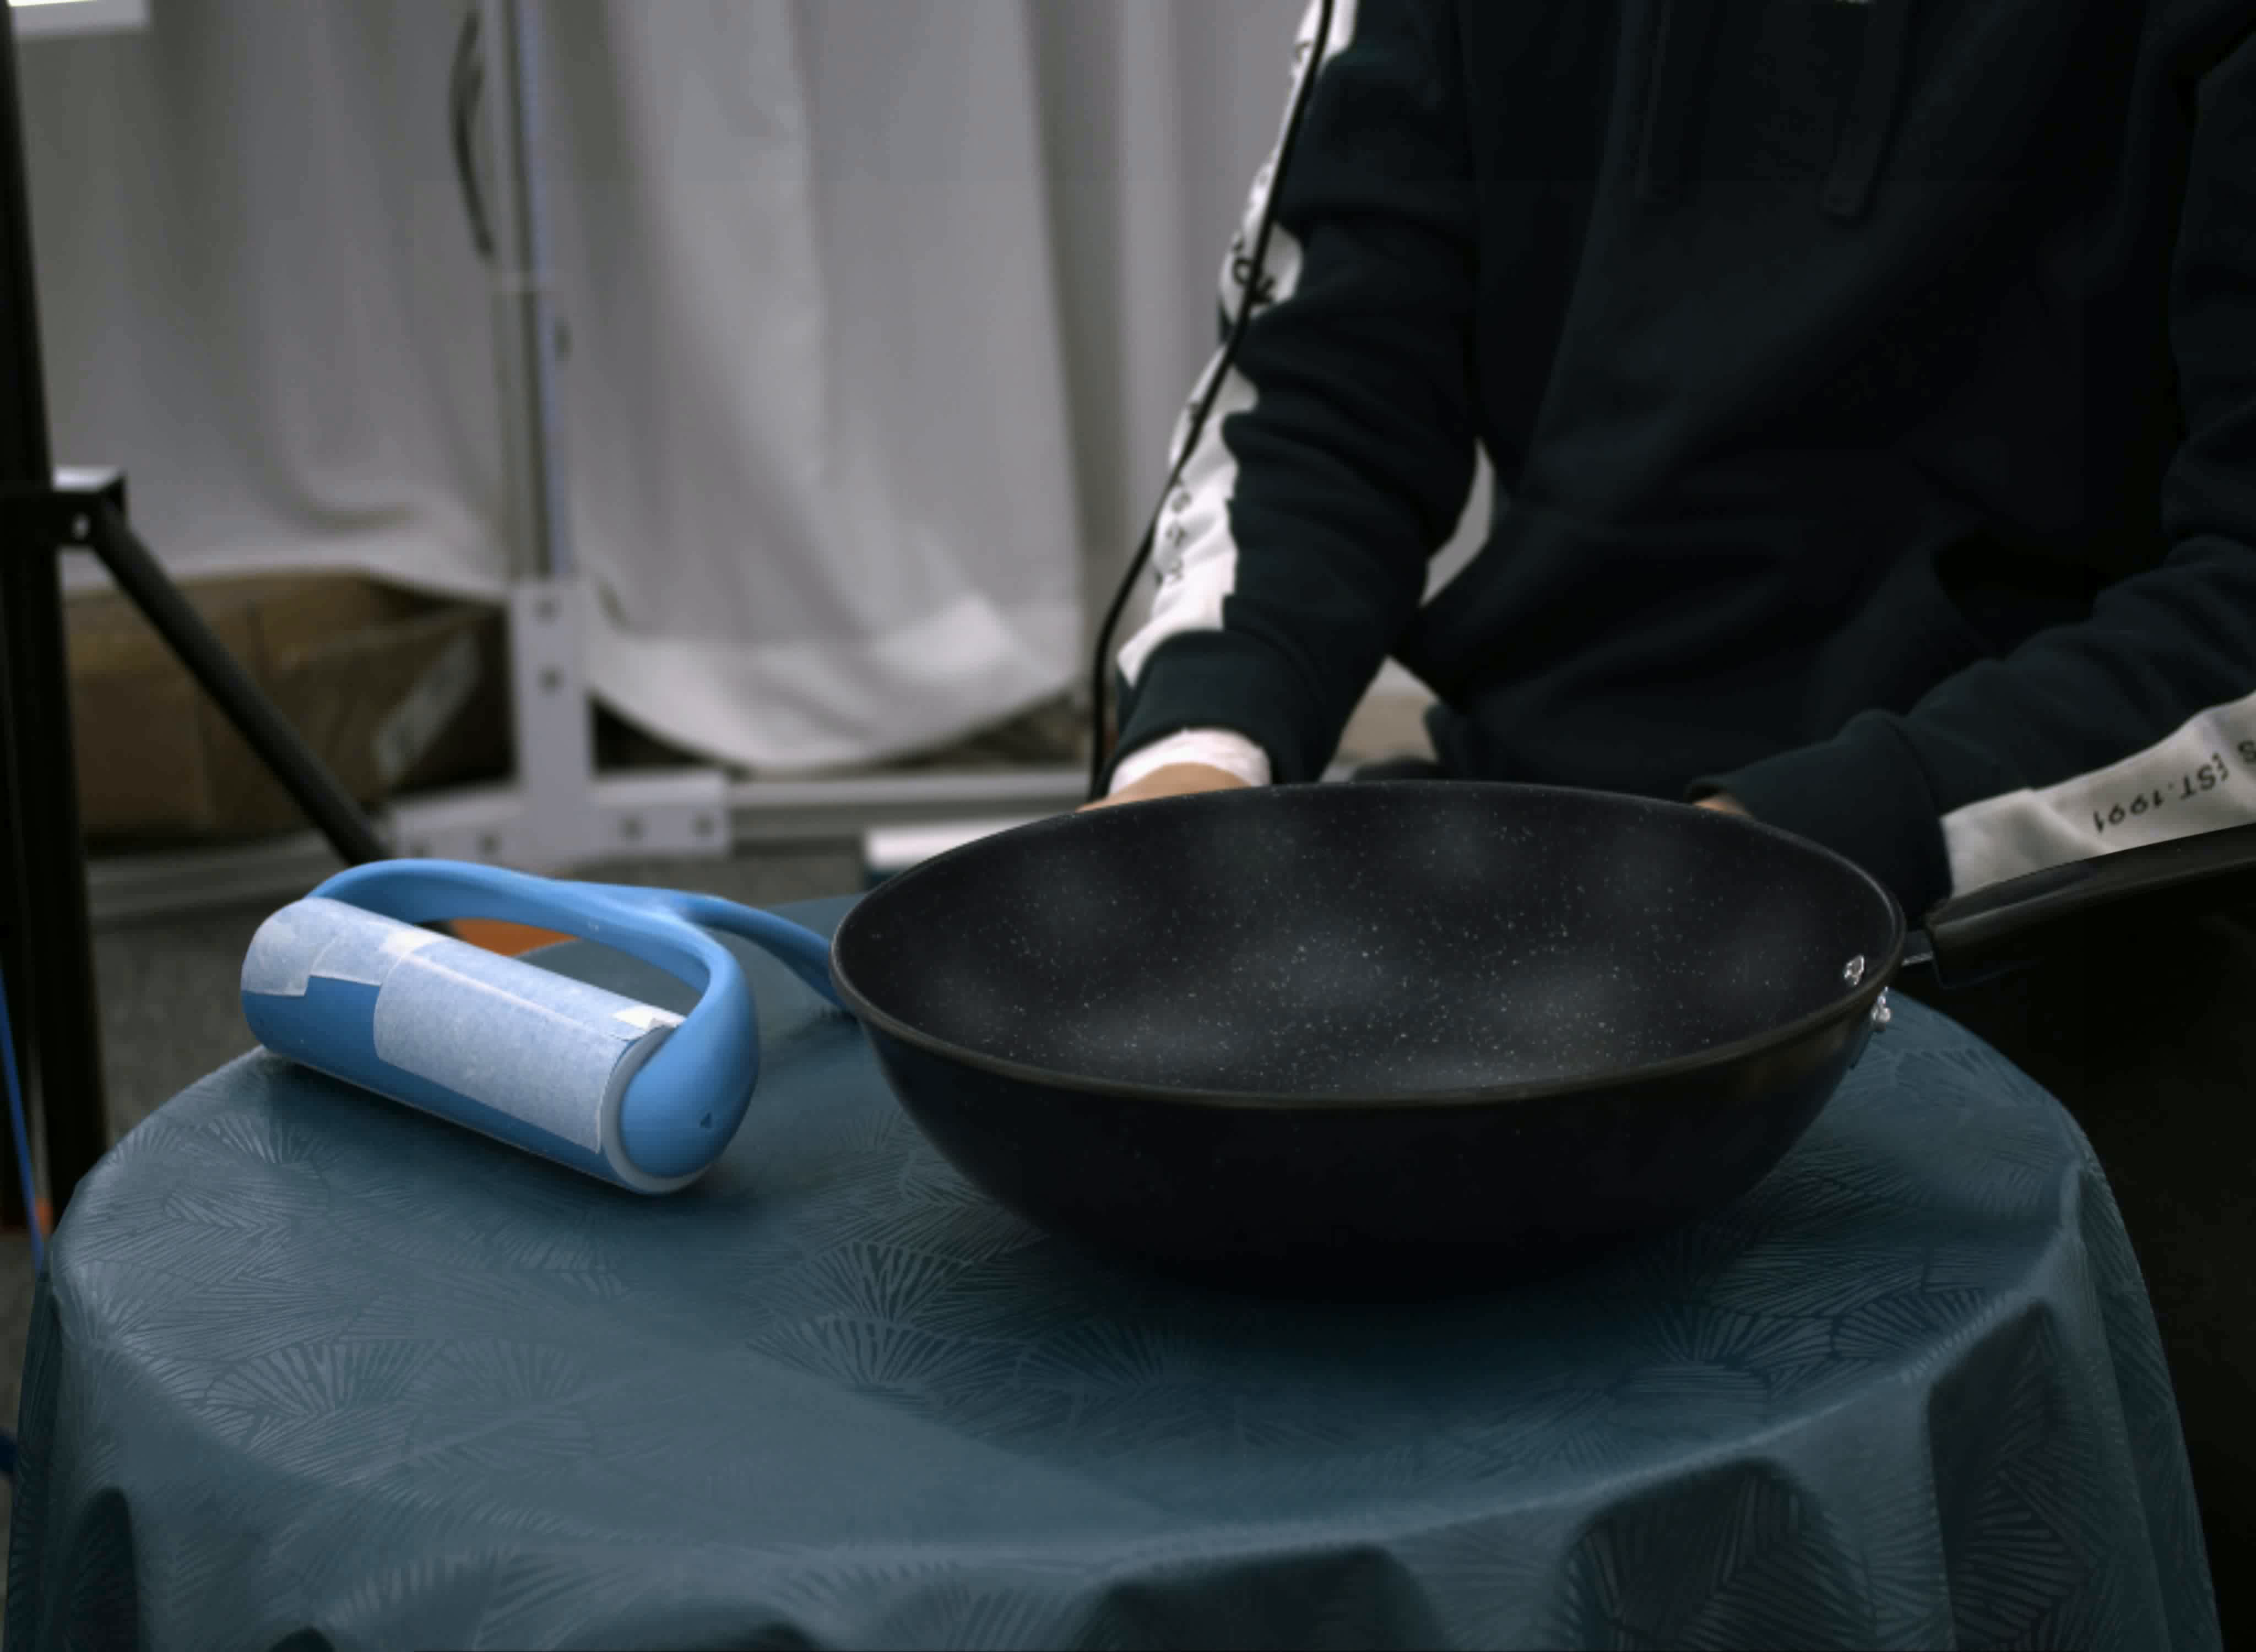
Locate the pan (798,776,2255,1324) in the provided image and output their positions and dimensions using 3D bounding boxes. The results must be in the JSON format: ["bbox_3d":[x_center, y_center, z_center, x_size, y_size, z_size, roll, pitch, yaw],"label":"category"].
[{"bbox_3d":[0.144,0.058,1.516,0.476,0.111,0.311,-2,18,3],"label":"pan"}]

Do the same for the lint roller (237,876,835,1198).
[{"bbox_3d":[-0.157,0.053,1.677,0.176,0.068,0.234,-20,20,-40],"label":"lint roller"}]
